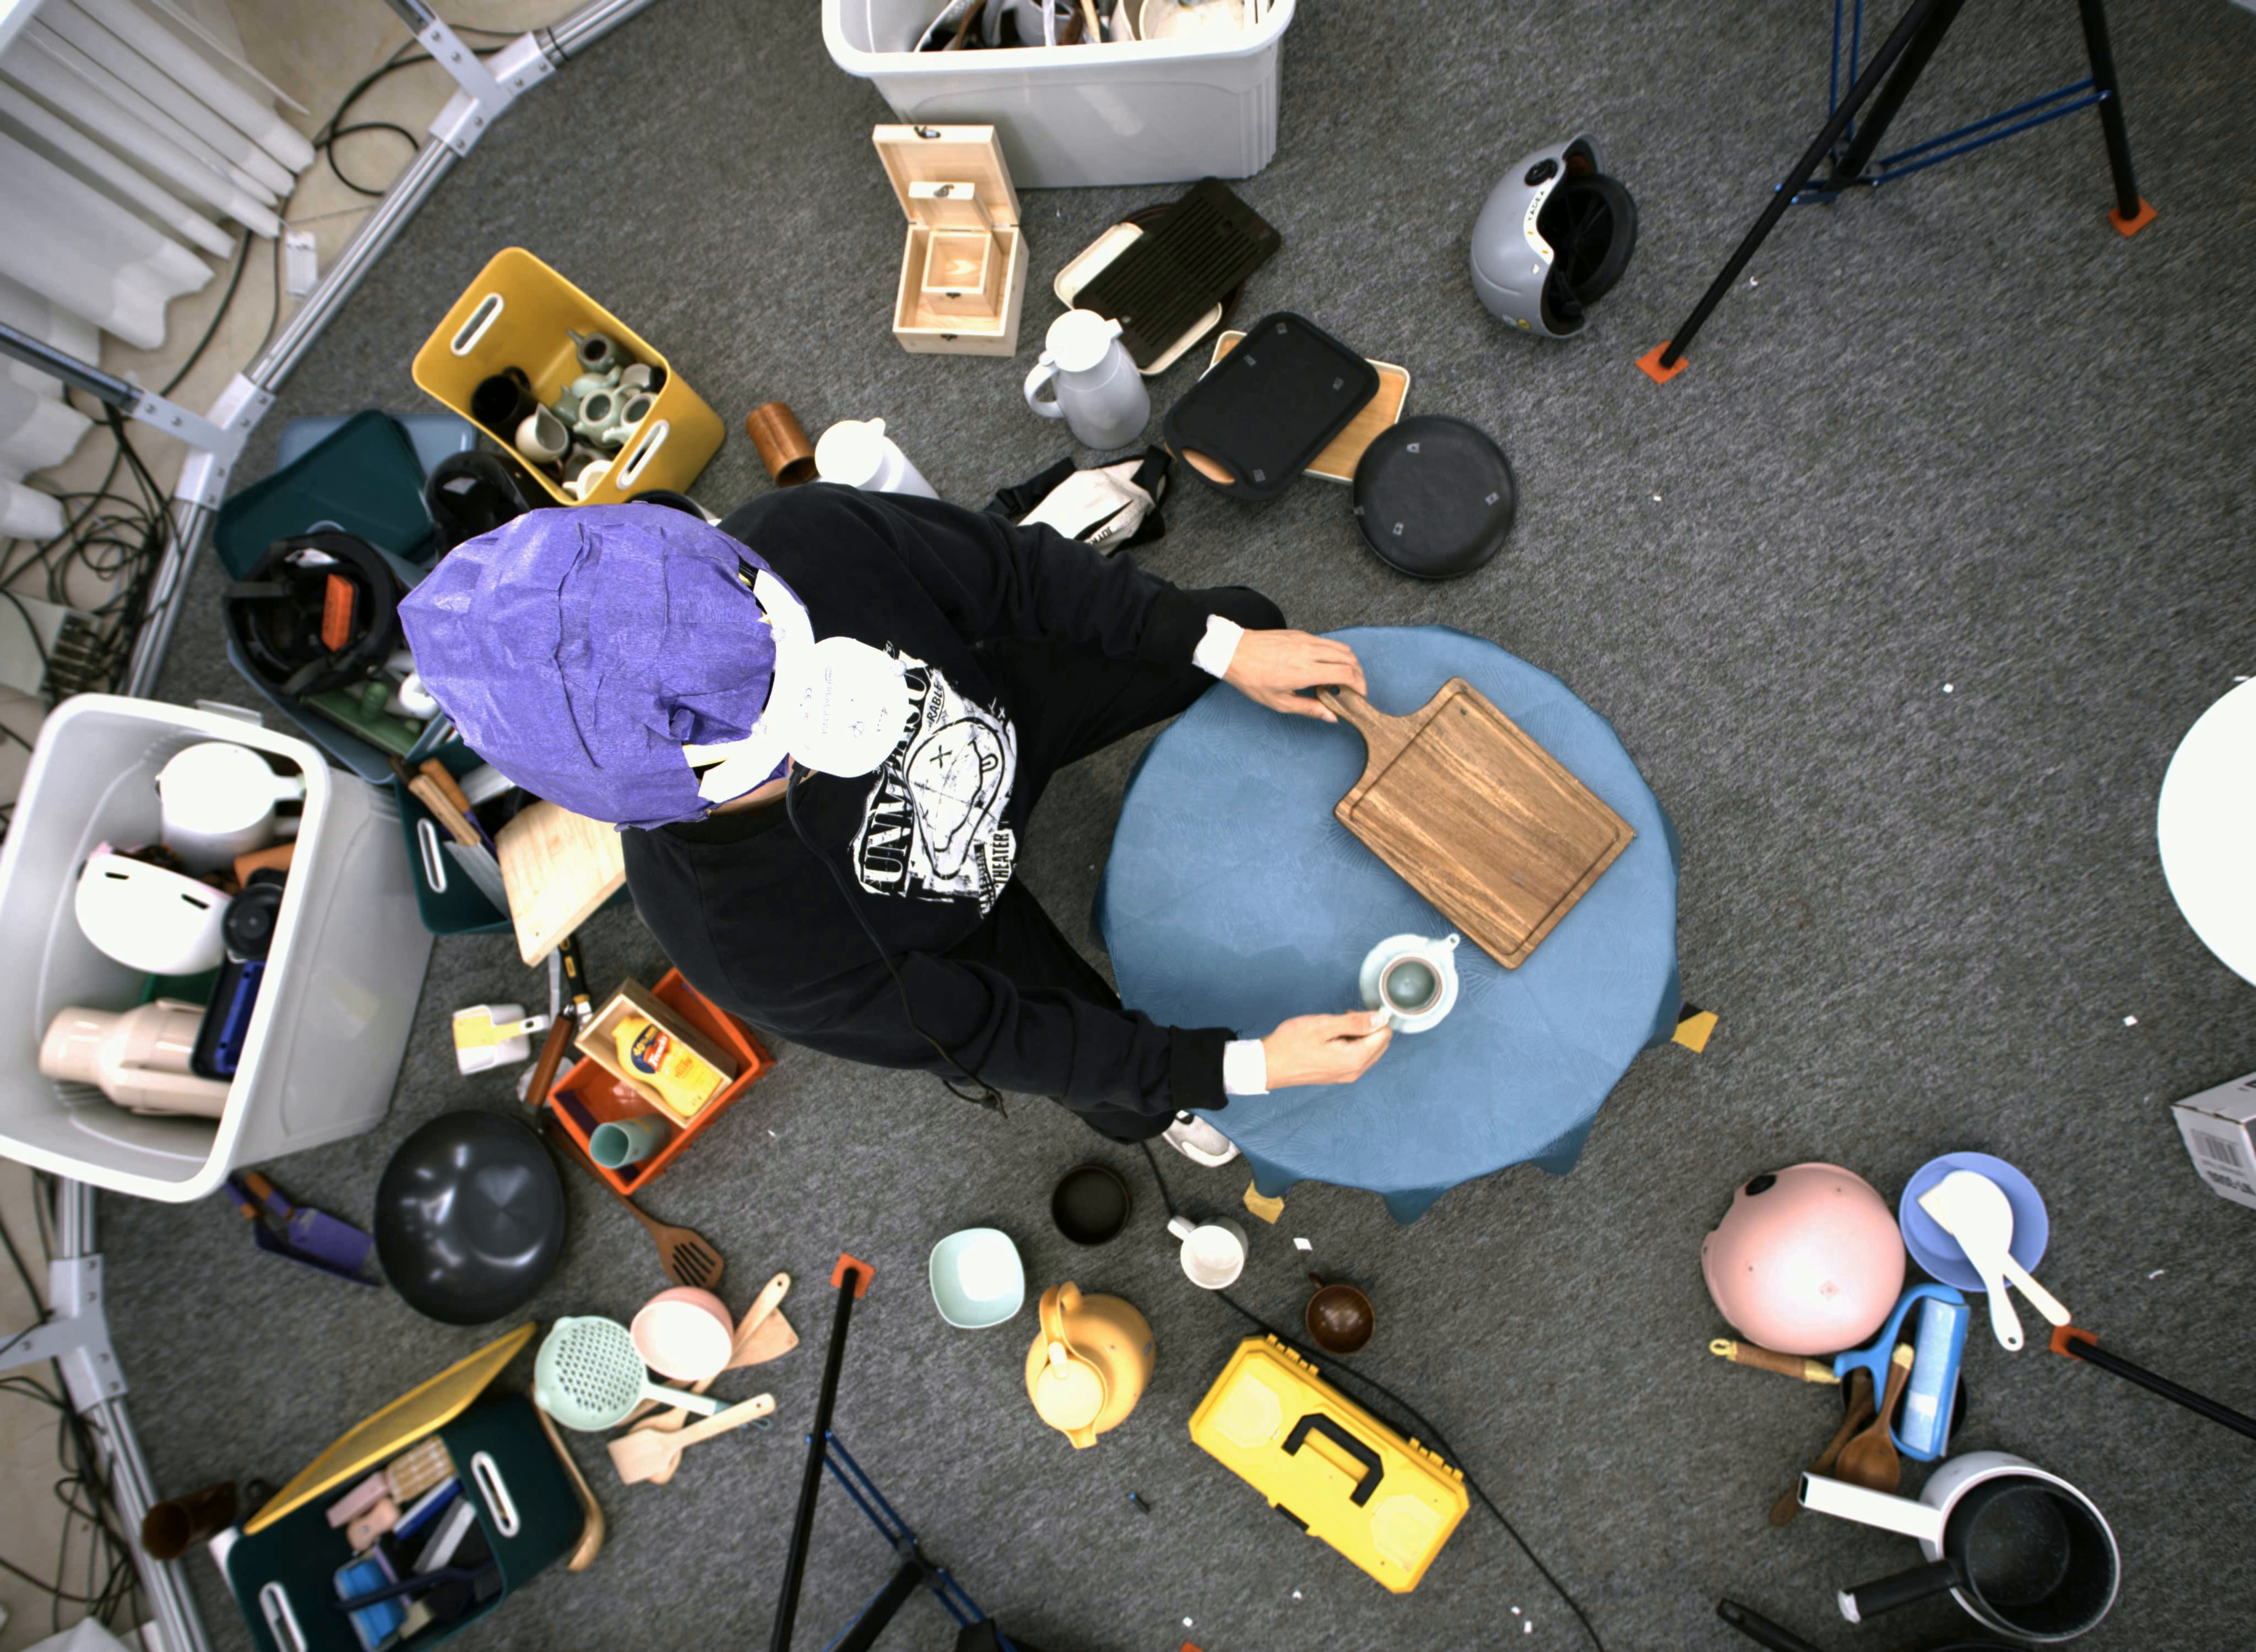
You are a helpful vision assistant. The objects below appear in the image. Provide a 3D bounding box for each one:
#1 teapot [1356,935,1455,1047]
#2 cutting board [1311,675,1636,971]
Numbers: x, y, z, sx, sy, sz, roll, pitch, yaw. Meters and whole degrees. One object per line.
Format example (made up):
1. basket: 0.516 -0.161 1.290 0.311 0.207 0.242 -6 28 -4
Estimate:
1. teapot: 0.269 0.159 1.347 0.096 0.061 0.137 41 94 4
2. cutting board: 0.329 -0.037 1.420 0.352 0.023 0.202 41 95 2
